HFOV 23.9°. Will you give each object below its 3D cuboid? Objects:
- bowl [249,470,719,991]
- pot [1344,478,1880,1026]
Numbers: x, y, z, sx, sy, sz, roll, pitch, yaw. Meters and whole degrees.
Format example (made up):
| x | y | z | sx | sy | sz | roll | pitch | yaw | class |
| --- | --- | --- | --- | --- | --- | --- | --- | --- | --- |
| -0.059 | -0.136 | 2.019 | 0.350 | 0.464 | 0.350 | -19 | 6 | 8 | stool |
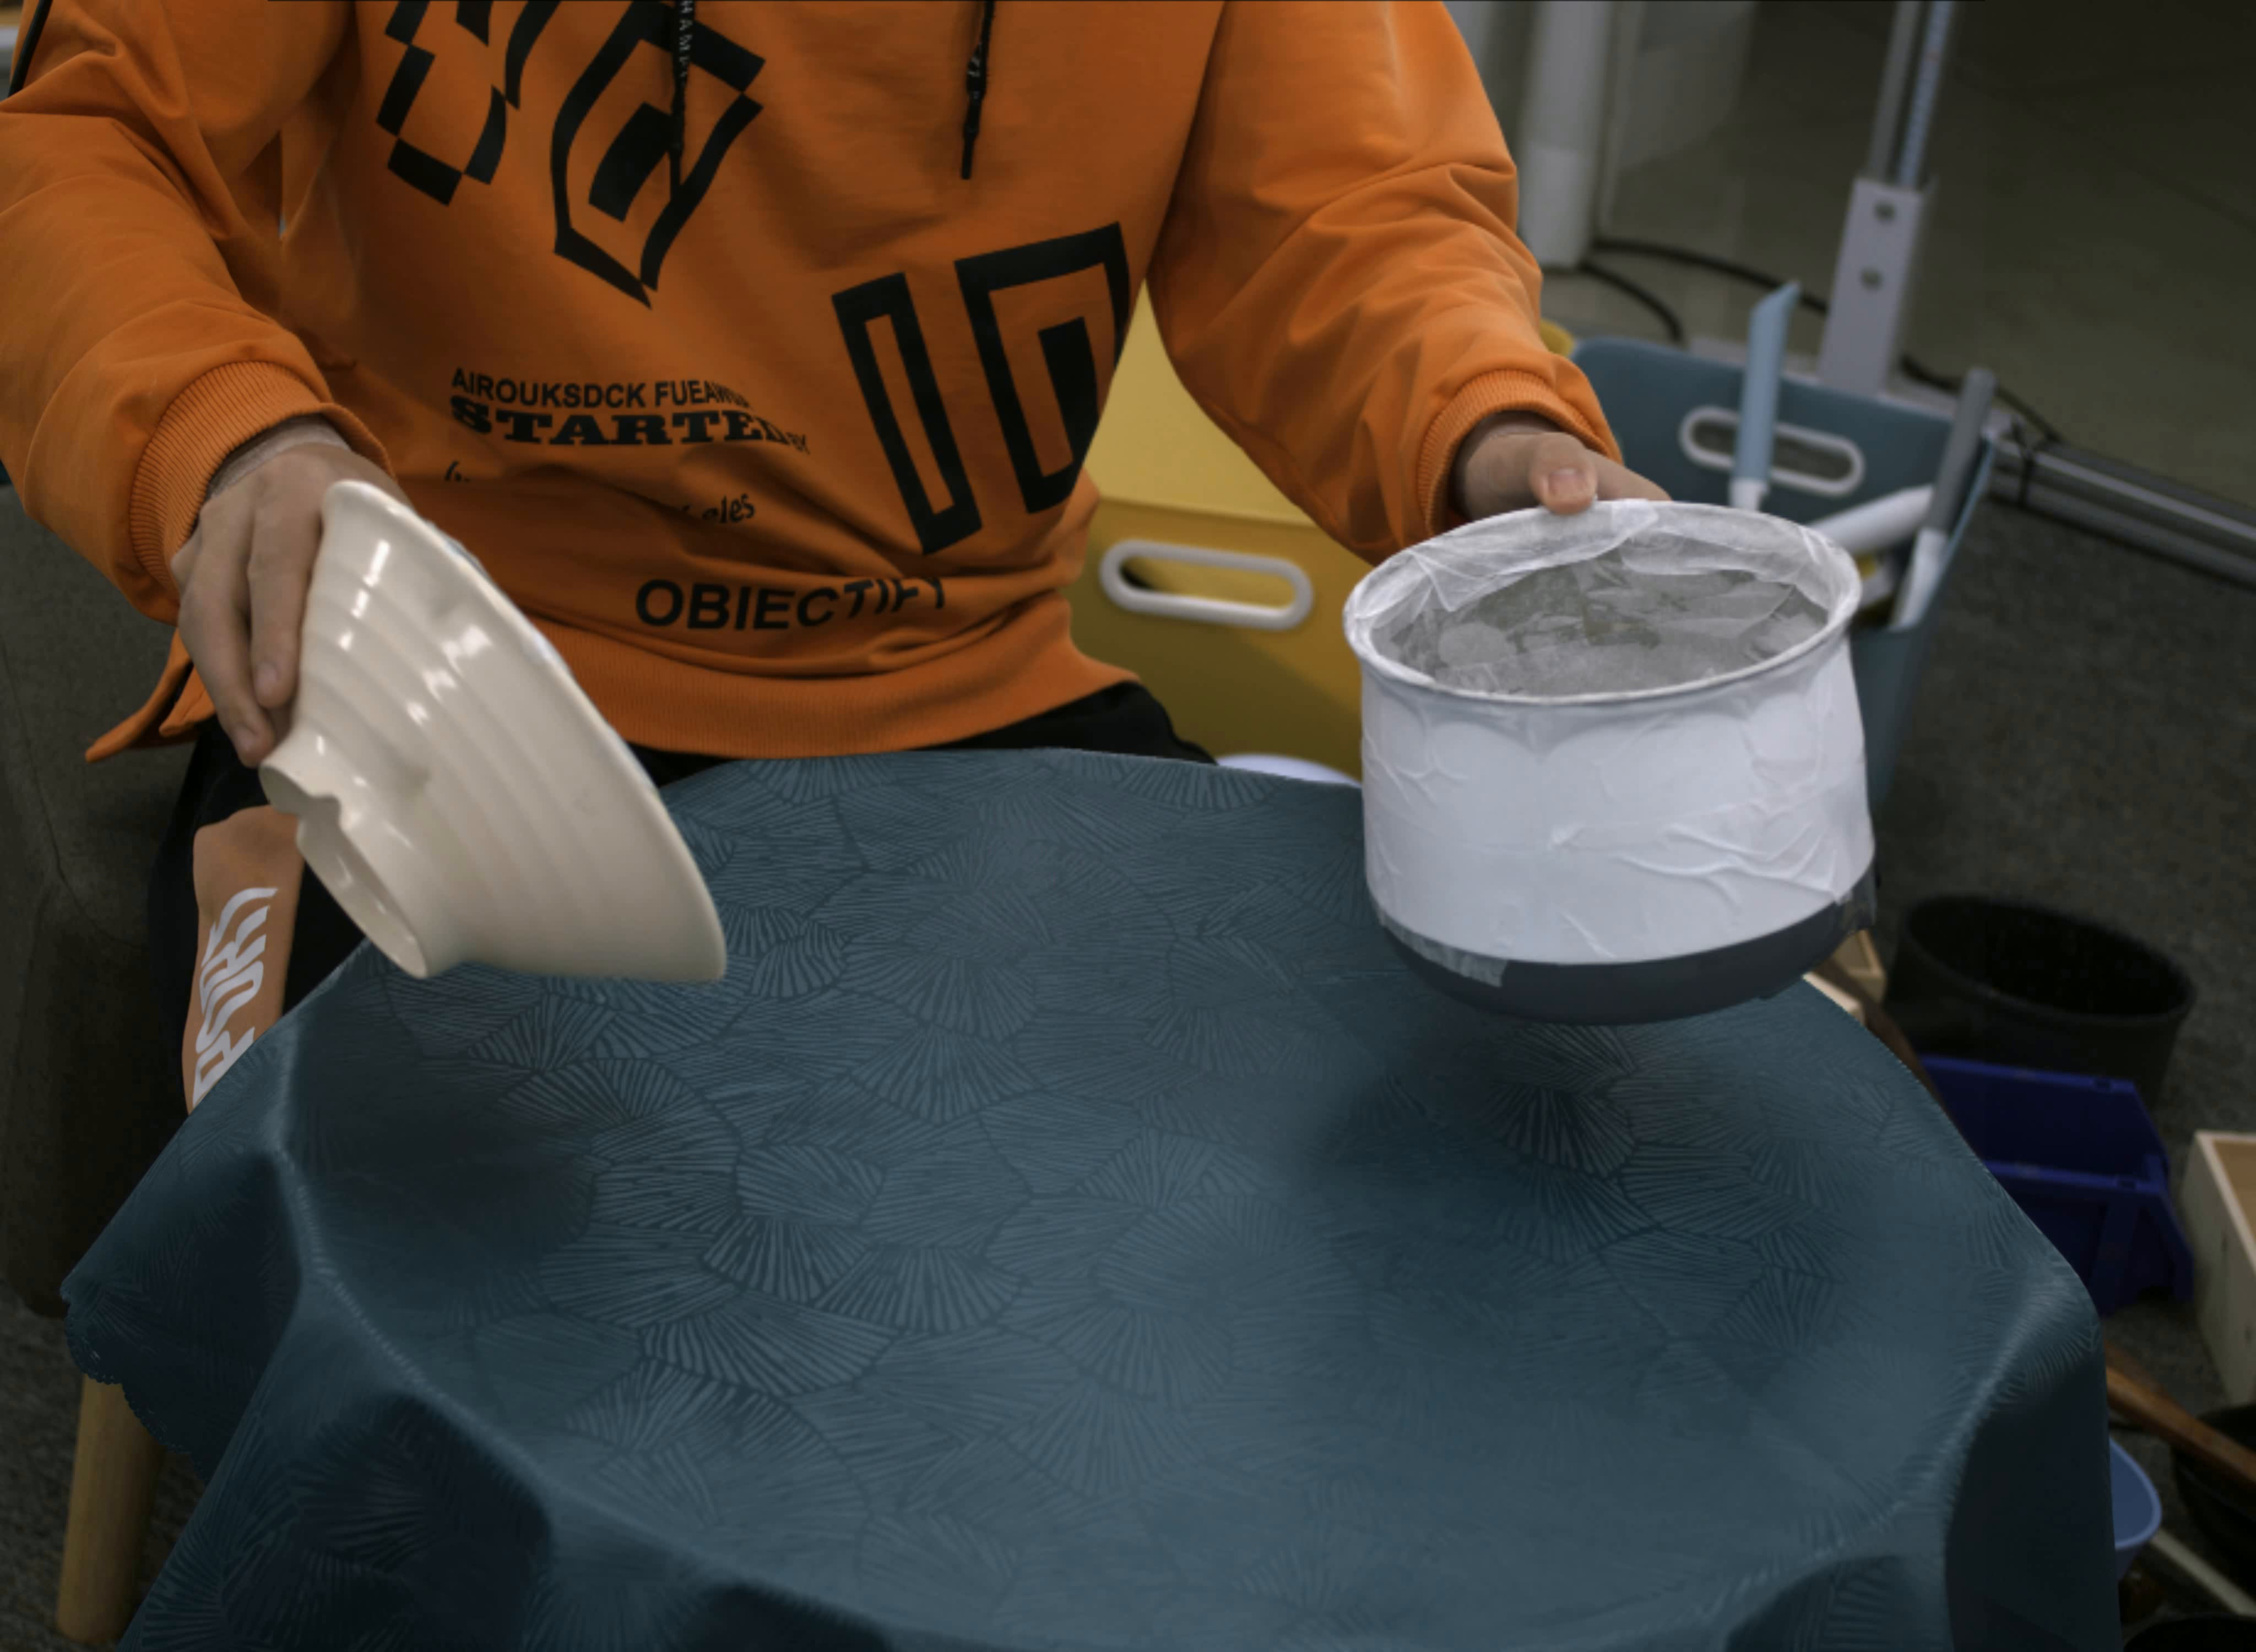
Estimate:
| x | y | z | sx | sy | sz | roll | pitch | yaw | class |
| --- | --- | --- | --- | --- | --- | --- | --- | --- | --- |
| -0.224 | -0.009 | 1.703 | 0.078 | 0.202 | 0.206 | -38 | 46 | -20 | bowl |
| 0.166 | -0.032 | 1.855 | 0.178 | 0.136 | 0.235 | -6 | 24 | -1 | pot |
